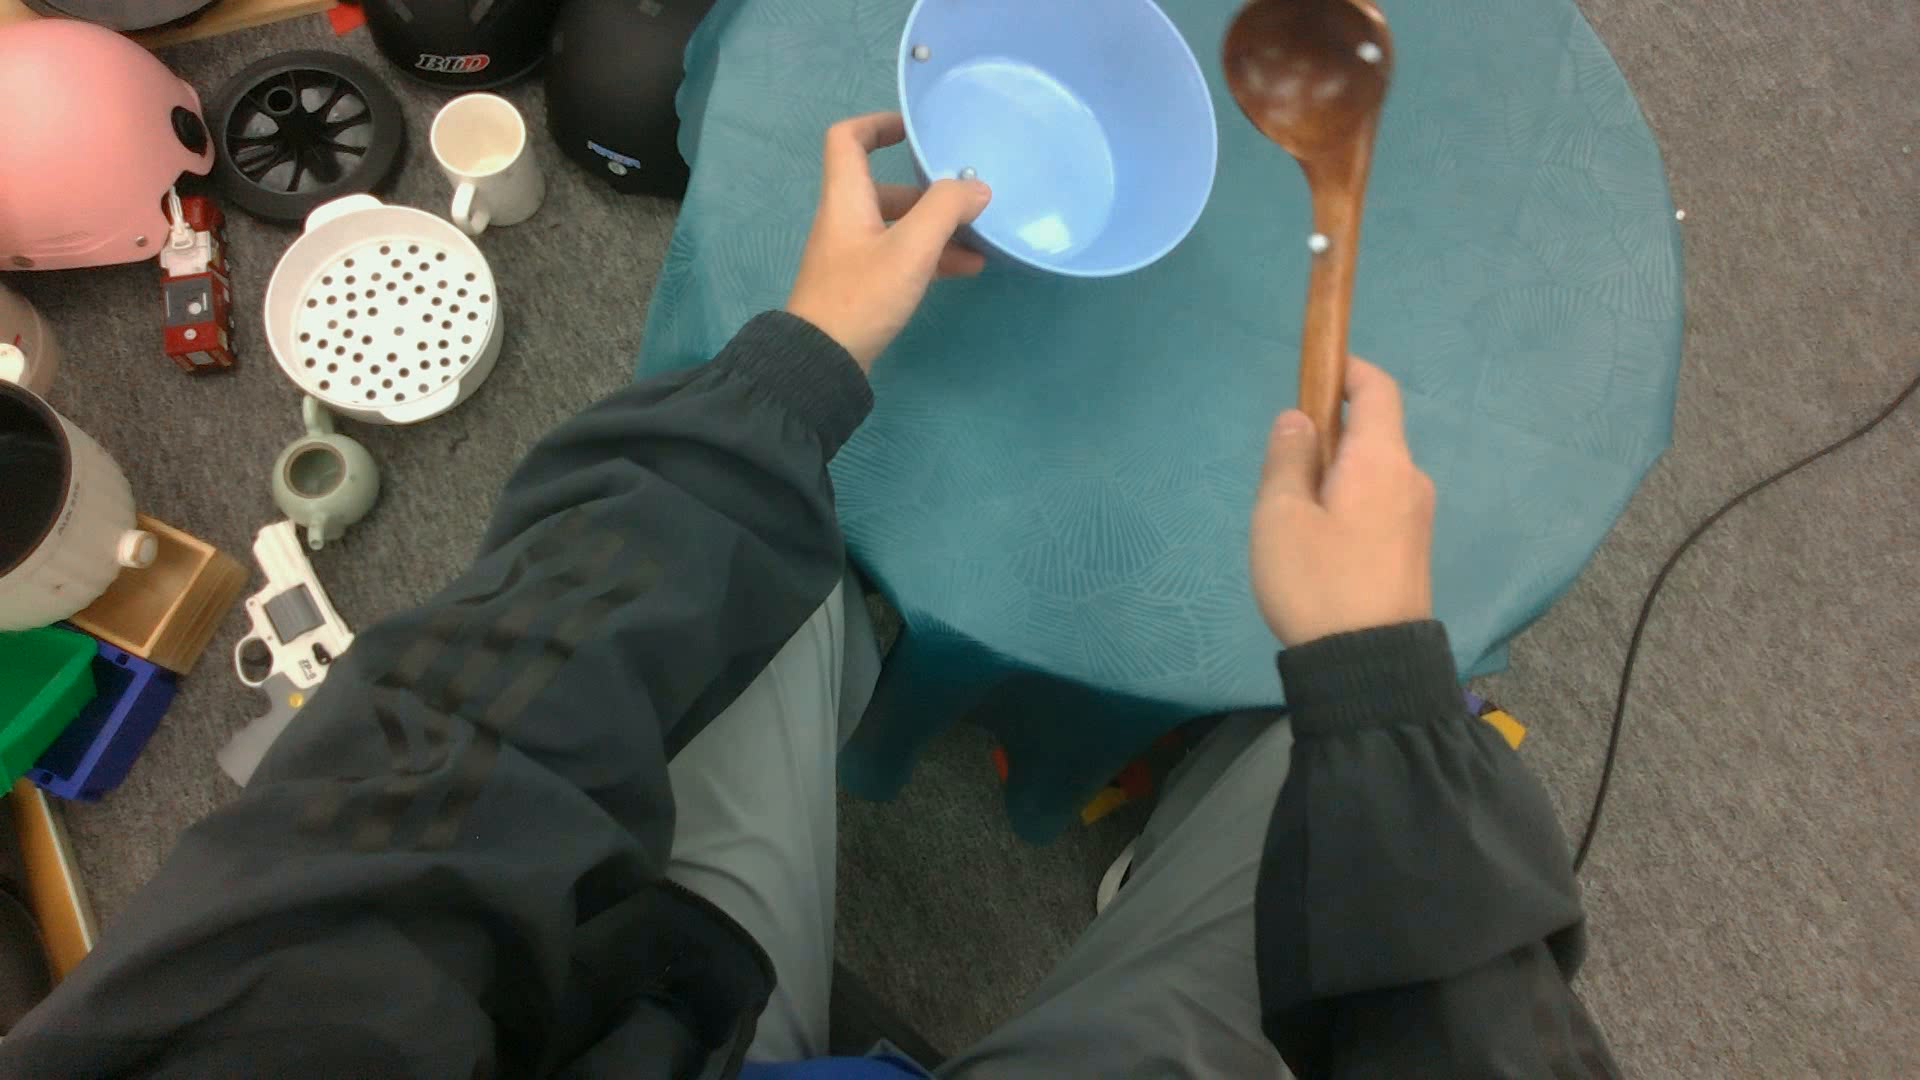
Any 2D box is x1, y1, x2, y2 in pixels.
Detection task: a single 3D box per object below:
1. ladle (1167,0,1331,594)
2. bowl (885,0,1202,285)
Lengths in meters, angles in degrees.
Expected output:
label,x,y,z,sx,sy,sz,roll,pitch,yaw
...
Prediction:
label,x,y,z,sx,sy,sz,roll,pitch,yaw
ladle,0.127,-0.115,0.614,0.077,0.082,0.274,5,84,-14
bowl,0.035,-0.206,0.729,0.176,0.070,0.176,5,76,-20
